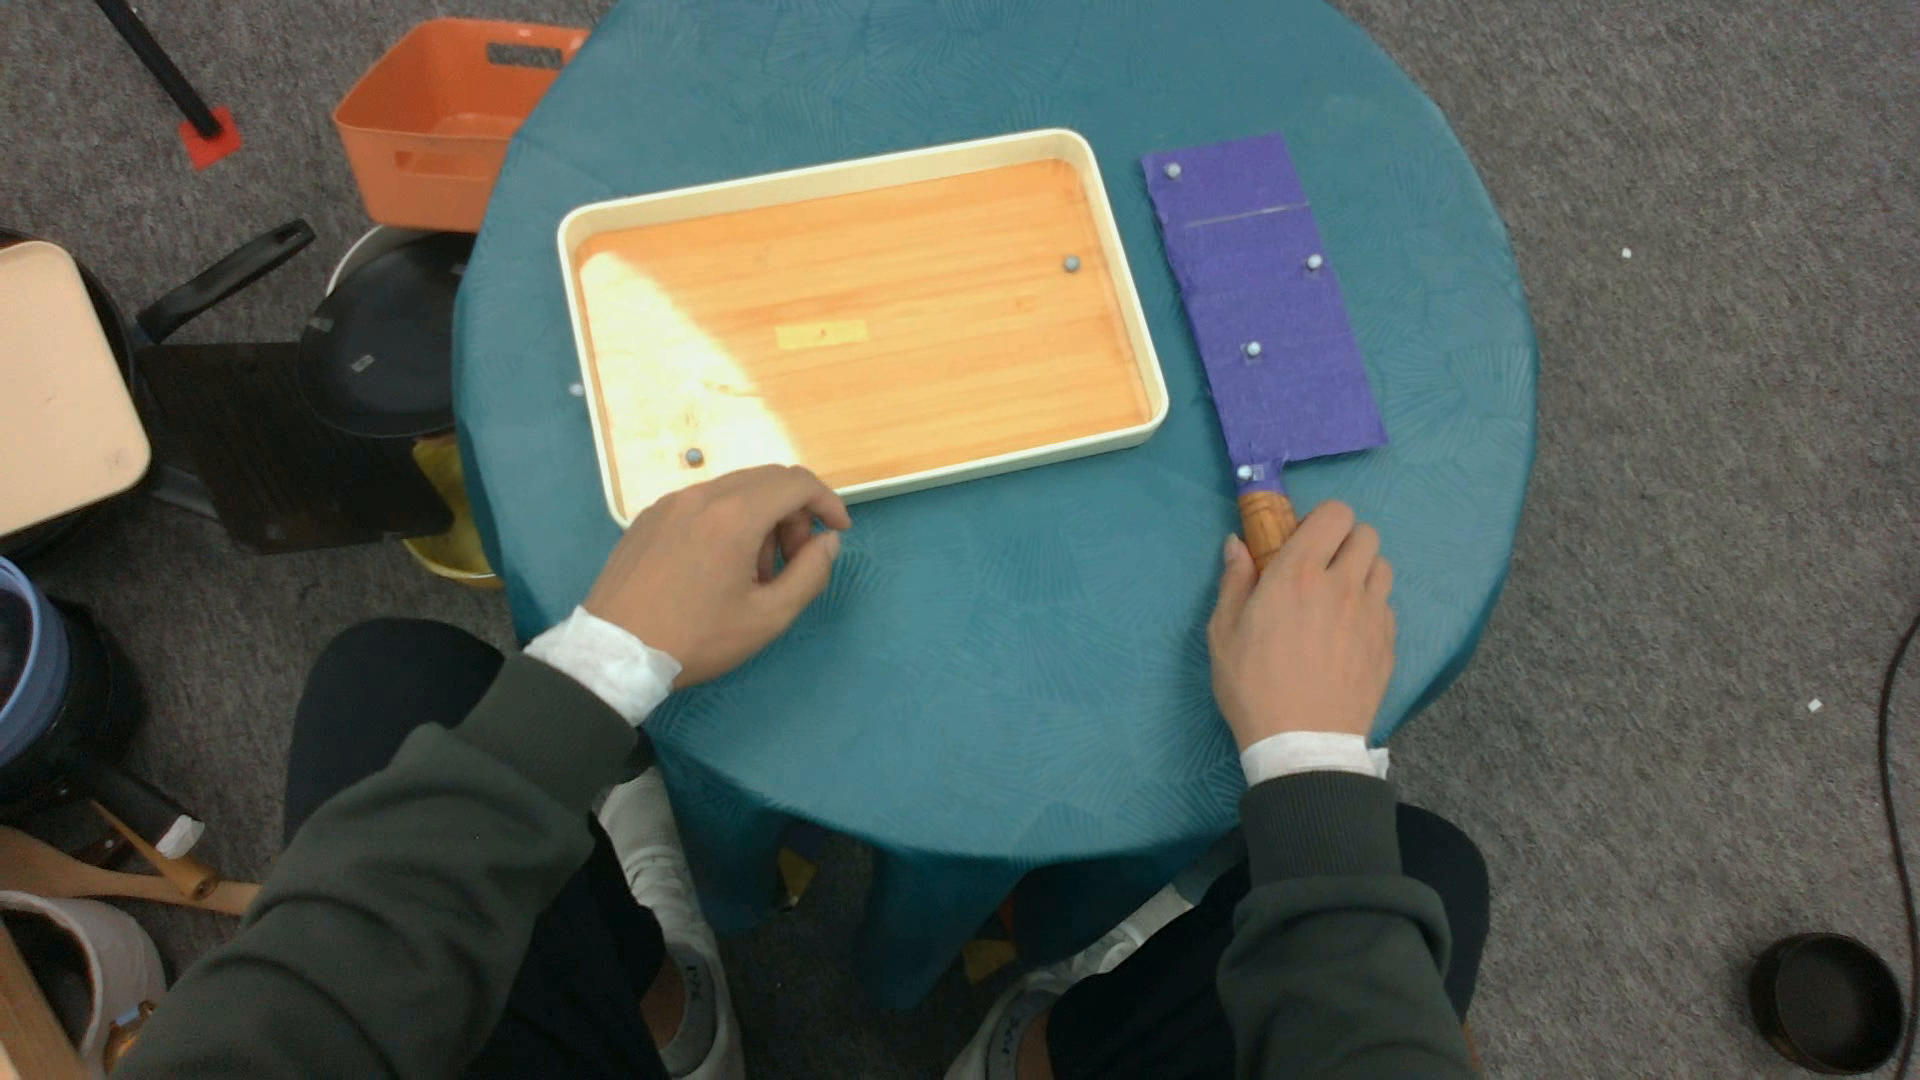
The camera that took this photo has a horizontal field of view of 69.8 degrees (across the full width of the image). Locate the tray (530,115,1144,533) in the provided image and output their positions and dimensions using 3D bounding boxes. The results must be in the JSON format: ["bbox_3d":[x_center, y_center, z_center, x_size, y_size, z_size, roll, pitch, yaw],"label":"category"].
[{"bbox_3d":[-0.065,-0.122,0.745,0.300,0.027,0.192,-12,74,-10],"label":"tray"}]

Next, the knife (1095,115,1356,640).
[{"bbox_3d":[0.165,-0.103,0.763,0.104,0.032,0.316,-11,73,-9],"label":"knife"}]
